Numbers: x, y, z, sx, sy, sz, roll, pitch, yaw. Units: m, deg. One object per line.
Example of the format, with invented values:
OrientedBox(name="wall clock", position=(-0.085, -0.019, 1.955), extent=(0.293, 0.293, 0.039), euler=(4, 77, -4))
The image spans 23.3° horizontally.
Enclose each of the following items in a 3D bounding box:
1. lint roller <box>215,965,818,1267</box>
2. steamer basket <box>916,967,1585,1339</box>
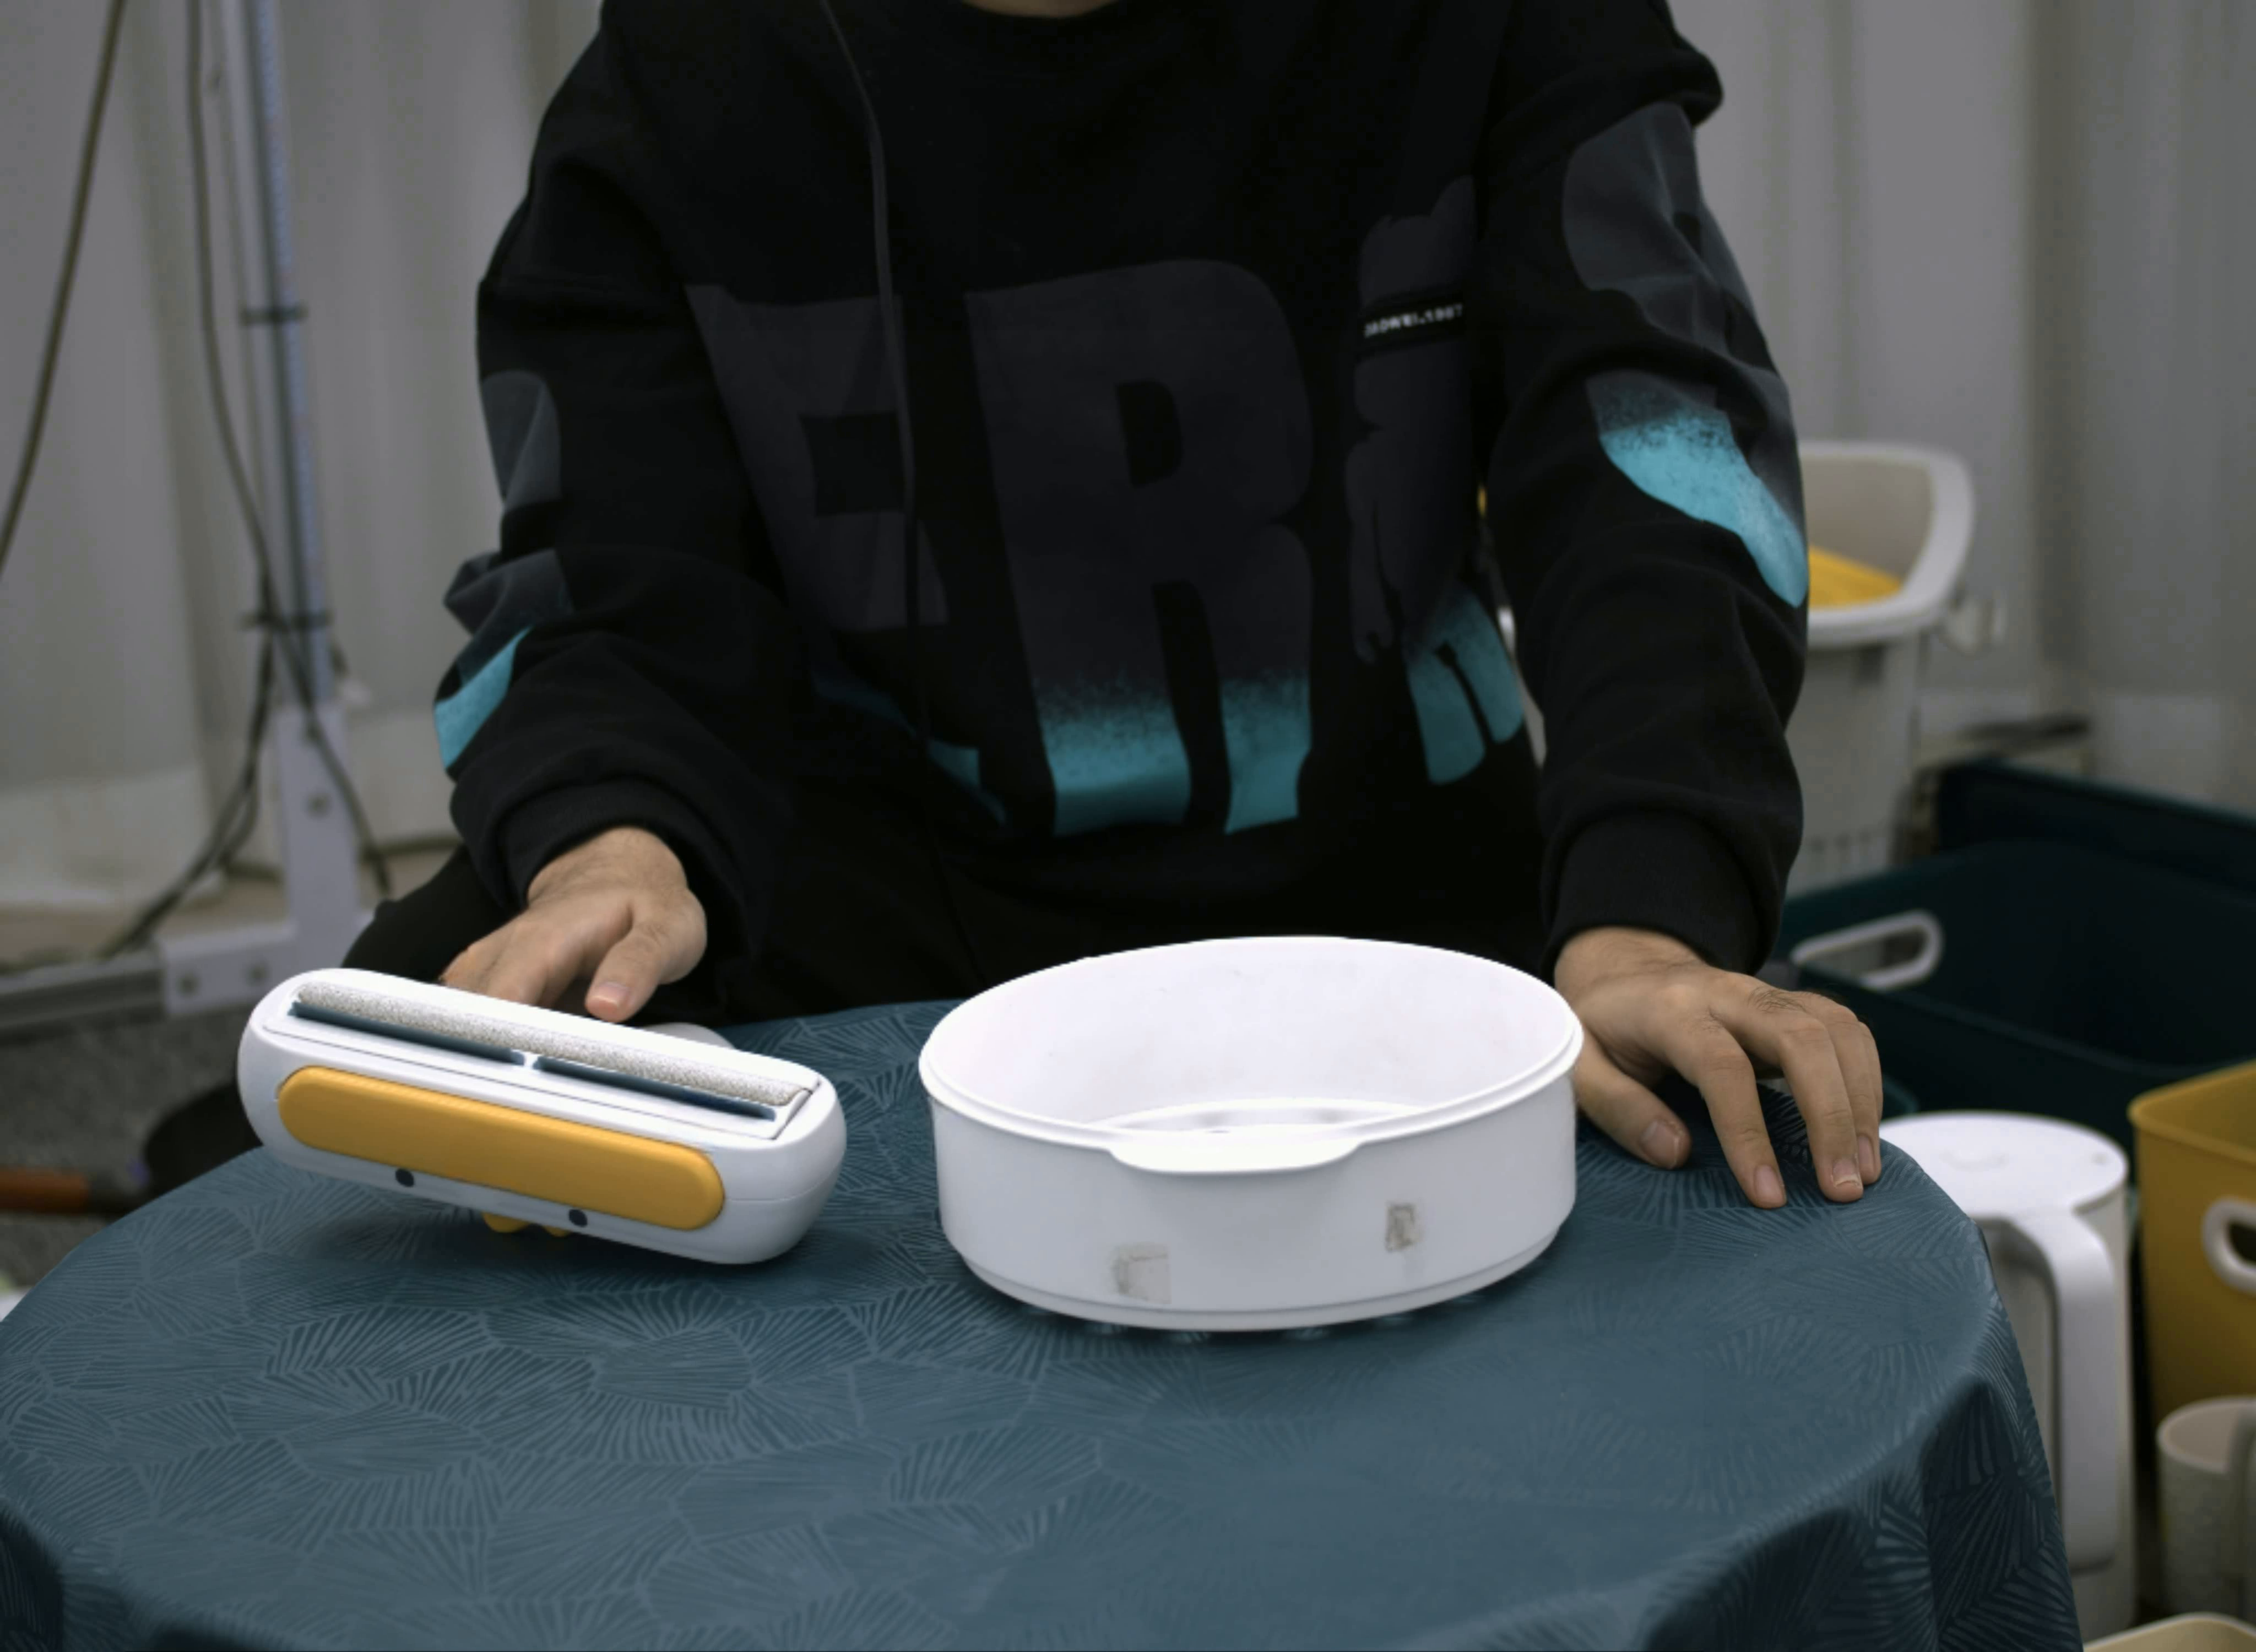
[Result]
OrientedBox(name="lint roller", position=(-0.169, 0.081, 1.743), extent=(0.193, 0.074, 0.193), euler=(8, 16, 19))
OrientedBox(name="steamer basket", position=(0.037, 0.098, 1.650), extent=(0.201, 0.069, 0.232), euler=(0, 13, 5))
